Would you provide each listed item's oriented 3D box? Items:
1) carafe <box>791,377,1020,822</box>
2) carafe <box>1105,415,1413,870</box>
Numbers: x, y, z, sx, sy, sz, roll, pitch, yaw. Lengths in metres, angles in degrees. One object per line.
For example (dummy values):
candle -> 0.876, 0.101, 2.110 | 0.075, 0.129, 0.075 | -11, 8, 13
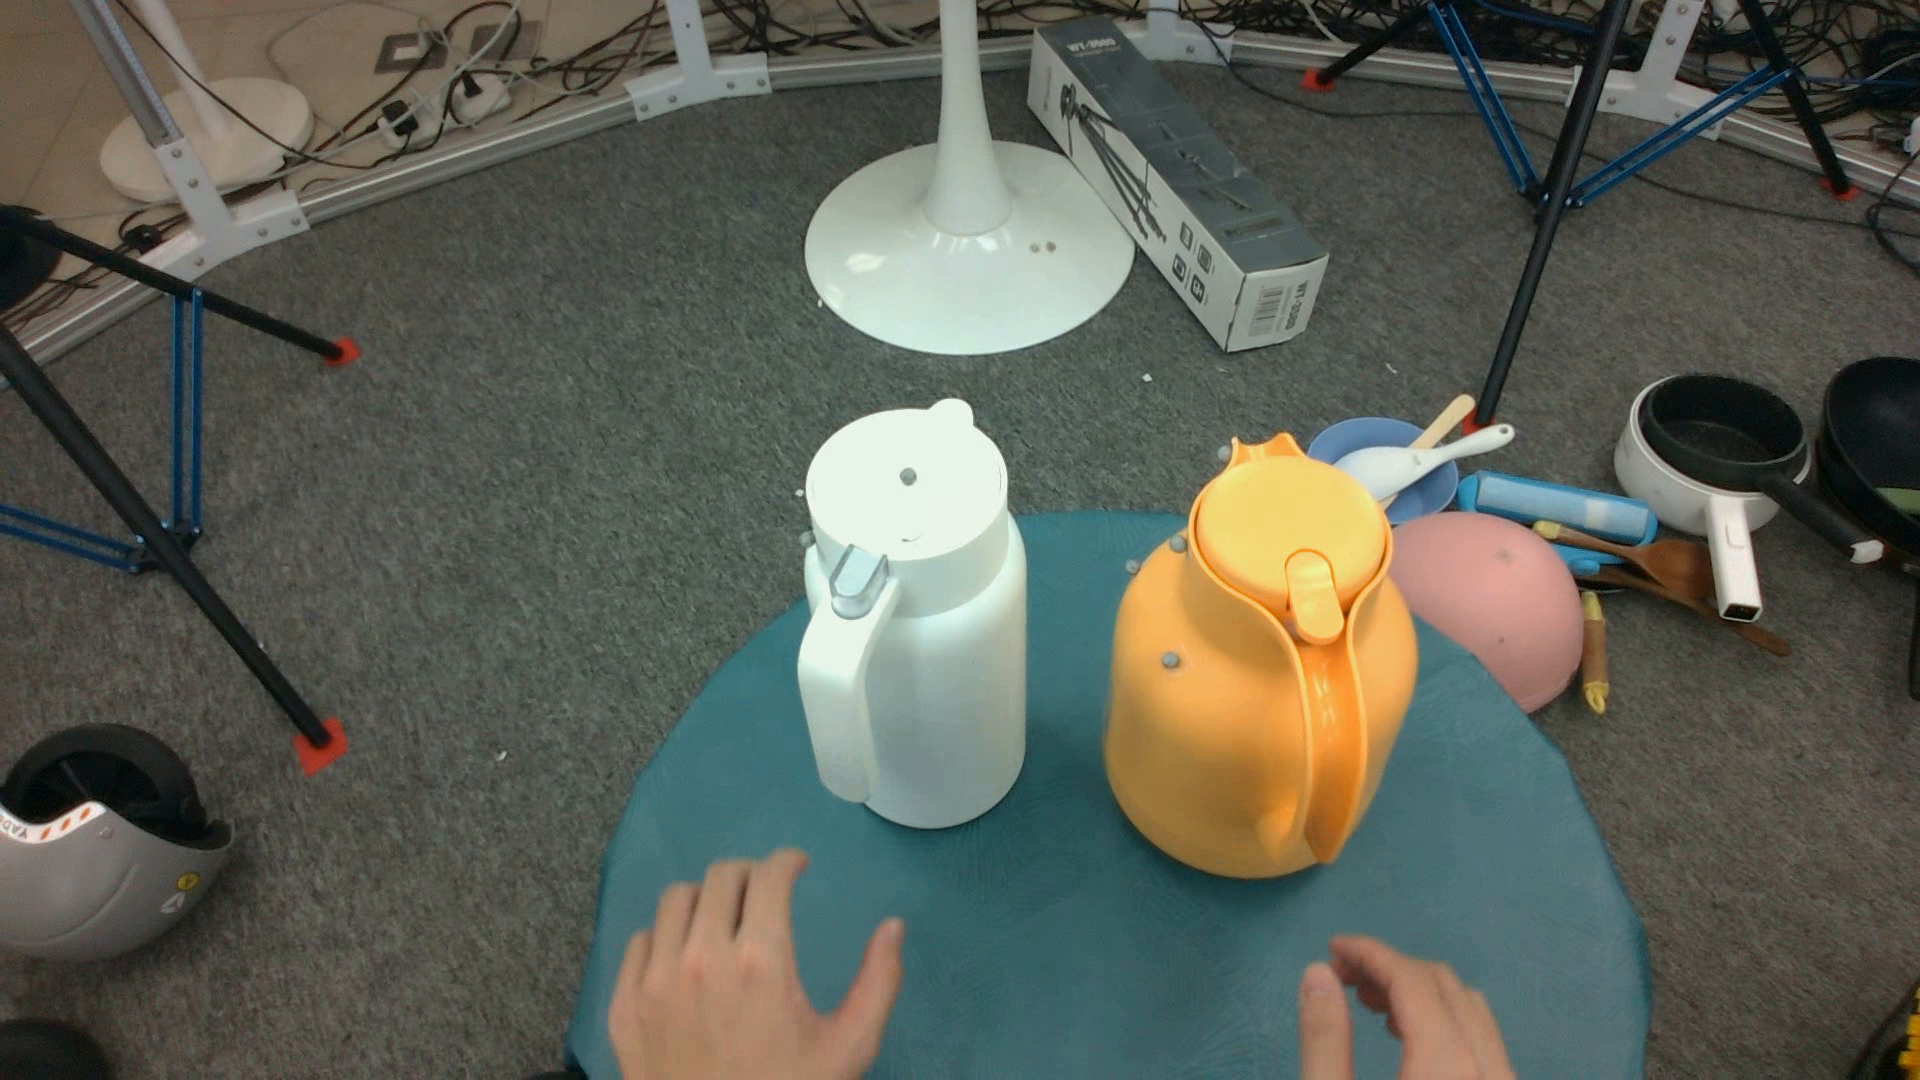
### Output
carafe -> -0.031, 0.060, 0.758 | 0.124, 0.267, 0.173 | 17, 54, 12
carafe -> 0.162, 0.075, 0.742 | 0.163, 0.259, 0.203 | -5, 50, 3
